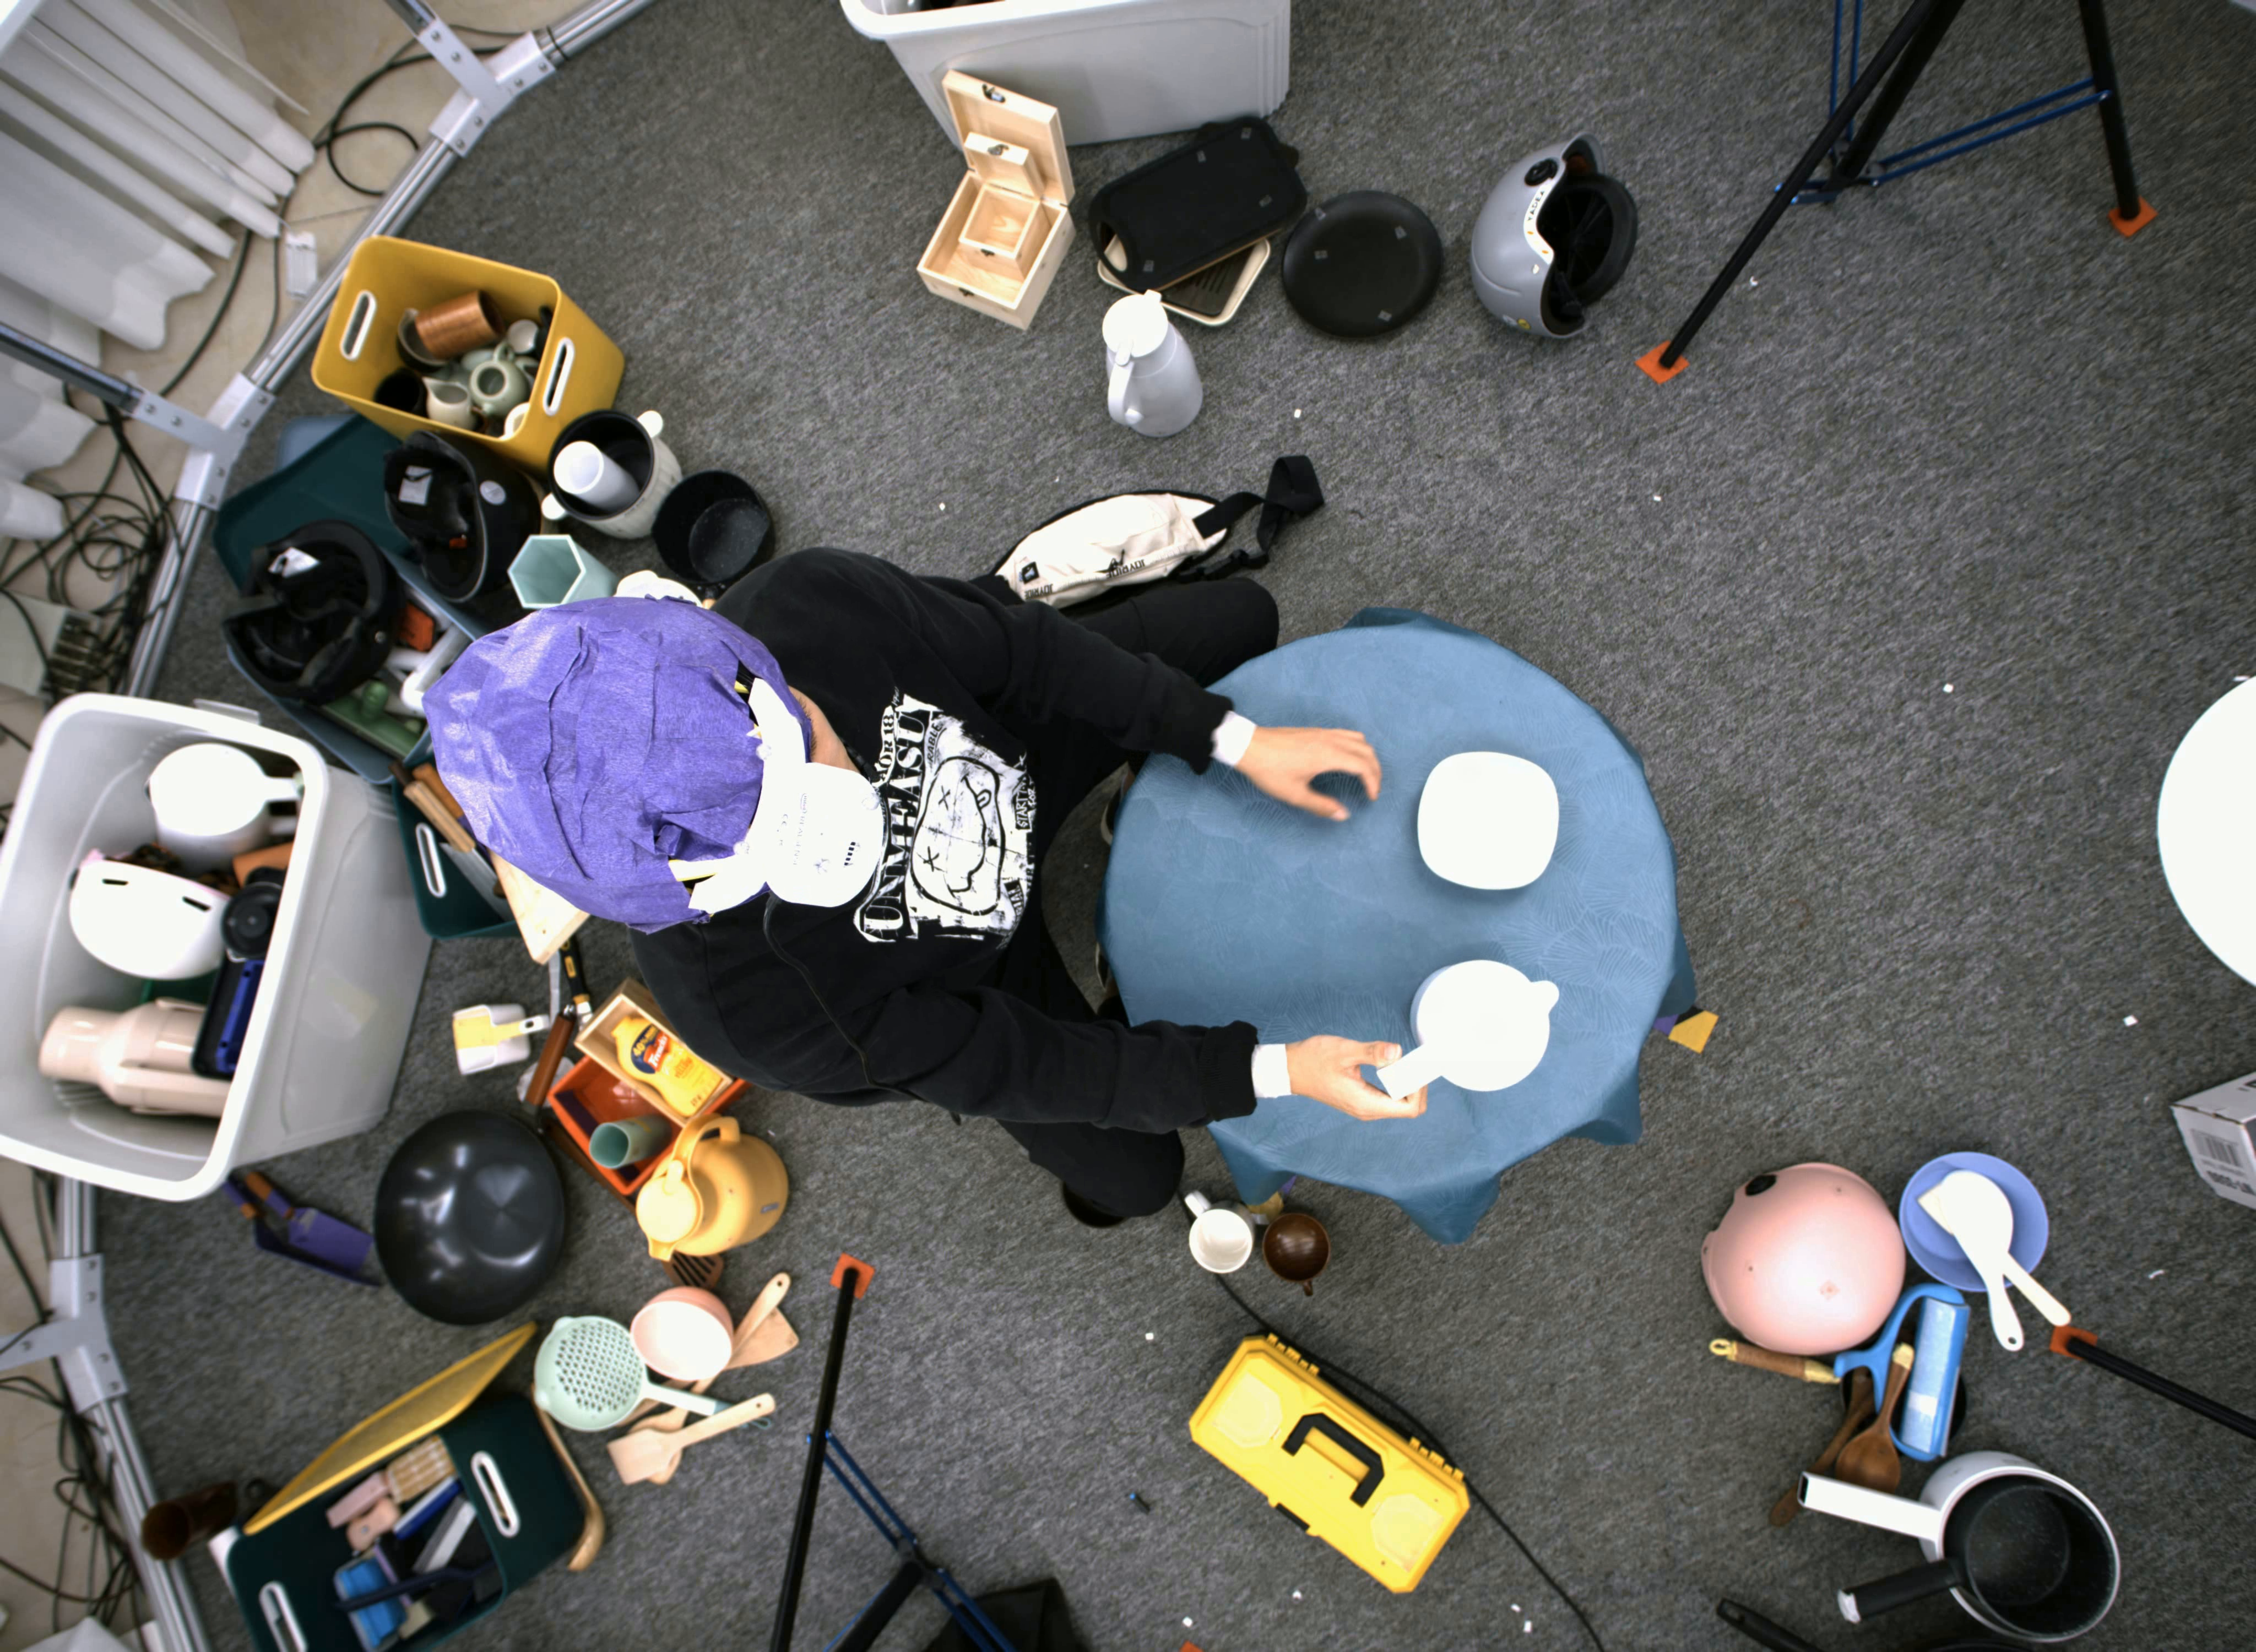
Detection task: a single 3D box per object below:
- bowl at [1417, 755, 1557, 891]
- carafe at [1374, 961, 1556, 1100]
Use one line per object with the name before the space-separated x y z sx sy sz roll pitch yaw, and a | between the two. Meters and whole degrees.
bowl | 0.368 -0.003 1.420 0.152 0.058 0.151 -1 86 11
carafe | 0.315 0.196 1.311 0.174 0.269 0.123 -33 82 6
